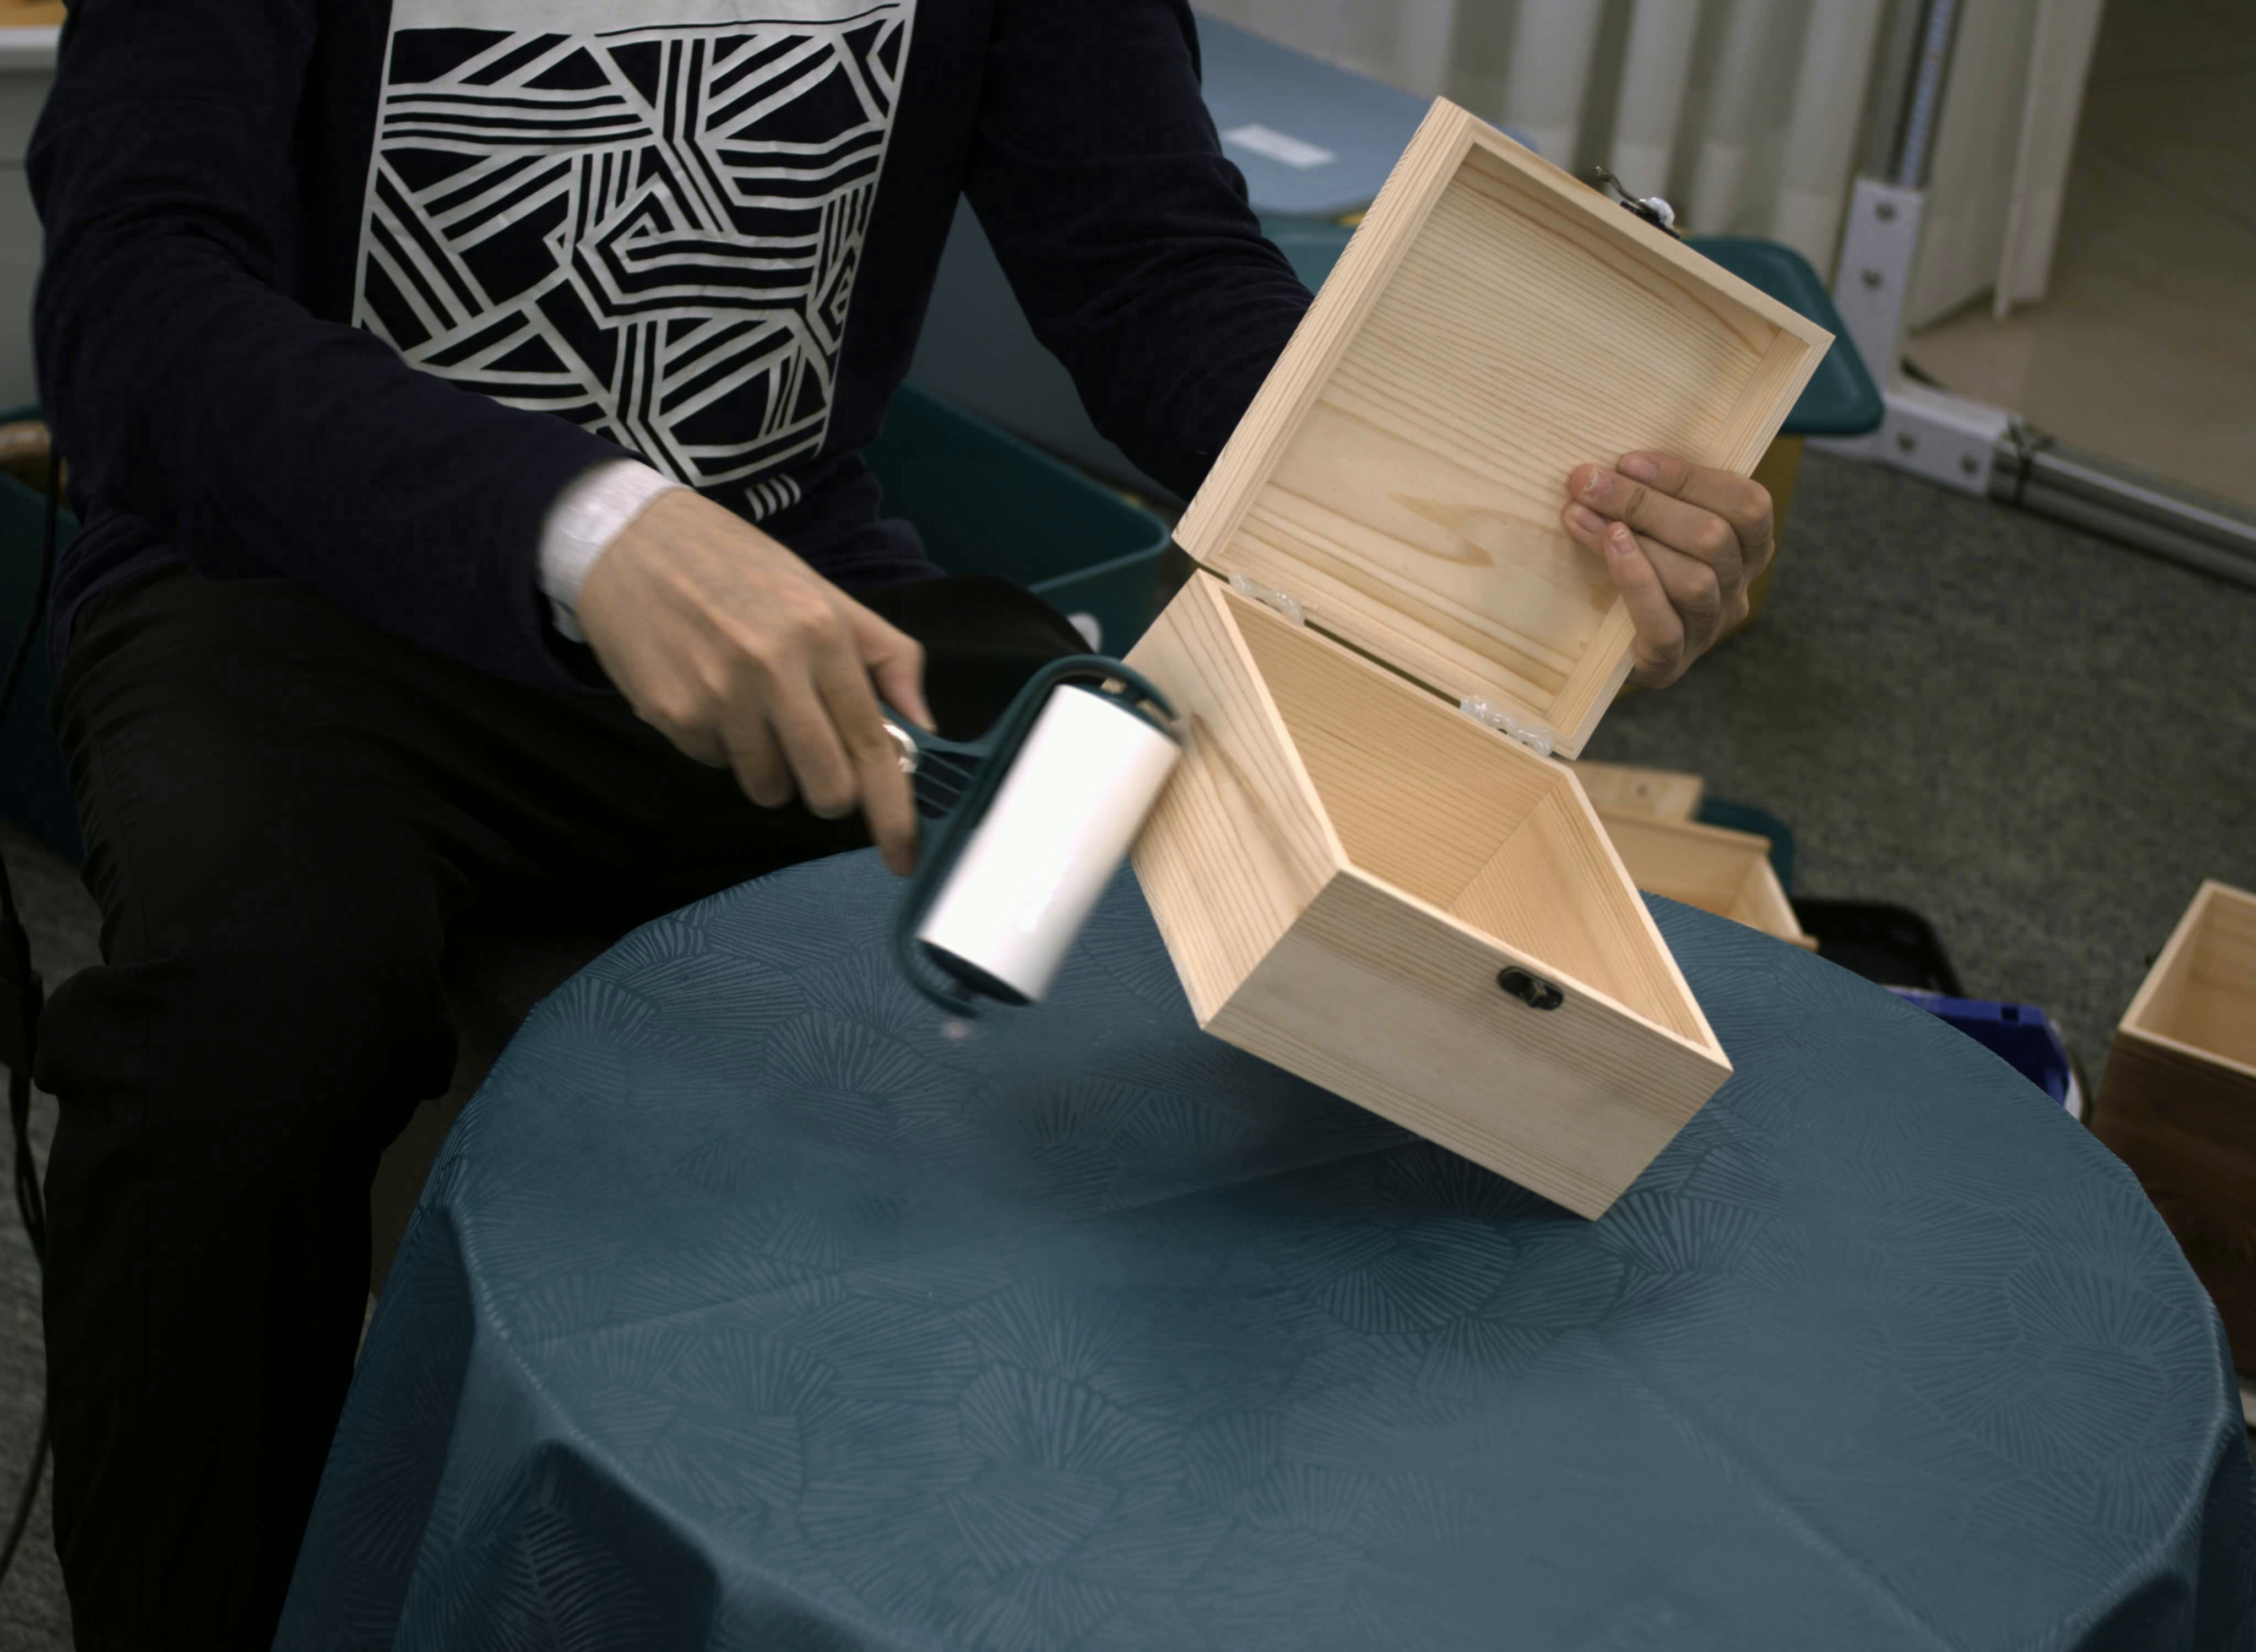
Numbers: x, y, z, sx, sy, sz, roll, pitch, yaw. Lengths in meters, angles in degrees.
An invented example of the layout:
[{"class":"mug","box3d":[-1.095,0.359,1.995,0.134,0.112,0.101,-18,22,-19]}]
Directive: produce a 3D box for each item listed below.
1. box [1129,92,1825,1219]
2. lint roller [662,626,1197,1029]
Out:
[{"class":"box","box3d":[0.136,-0.060,1.830,0.180,0.253,0.267,25,25,-30]},{"class":"lint roller","box3d":[-0.080,-0.024,1.799,0.180,0.134,0.048,27,-5,7]}]
